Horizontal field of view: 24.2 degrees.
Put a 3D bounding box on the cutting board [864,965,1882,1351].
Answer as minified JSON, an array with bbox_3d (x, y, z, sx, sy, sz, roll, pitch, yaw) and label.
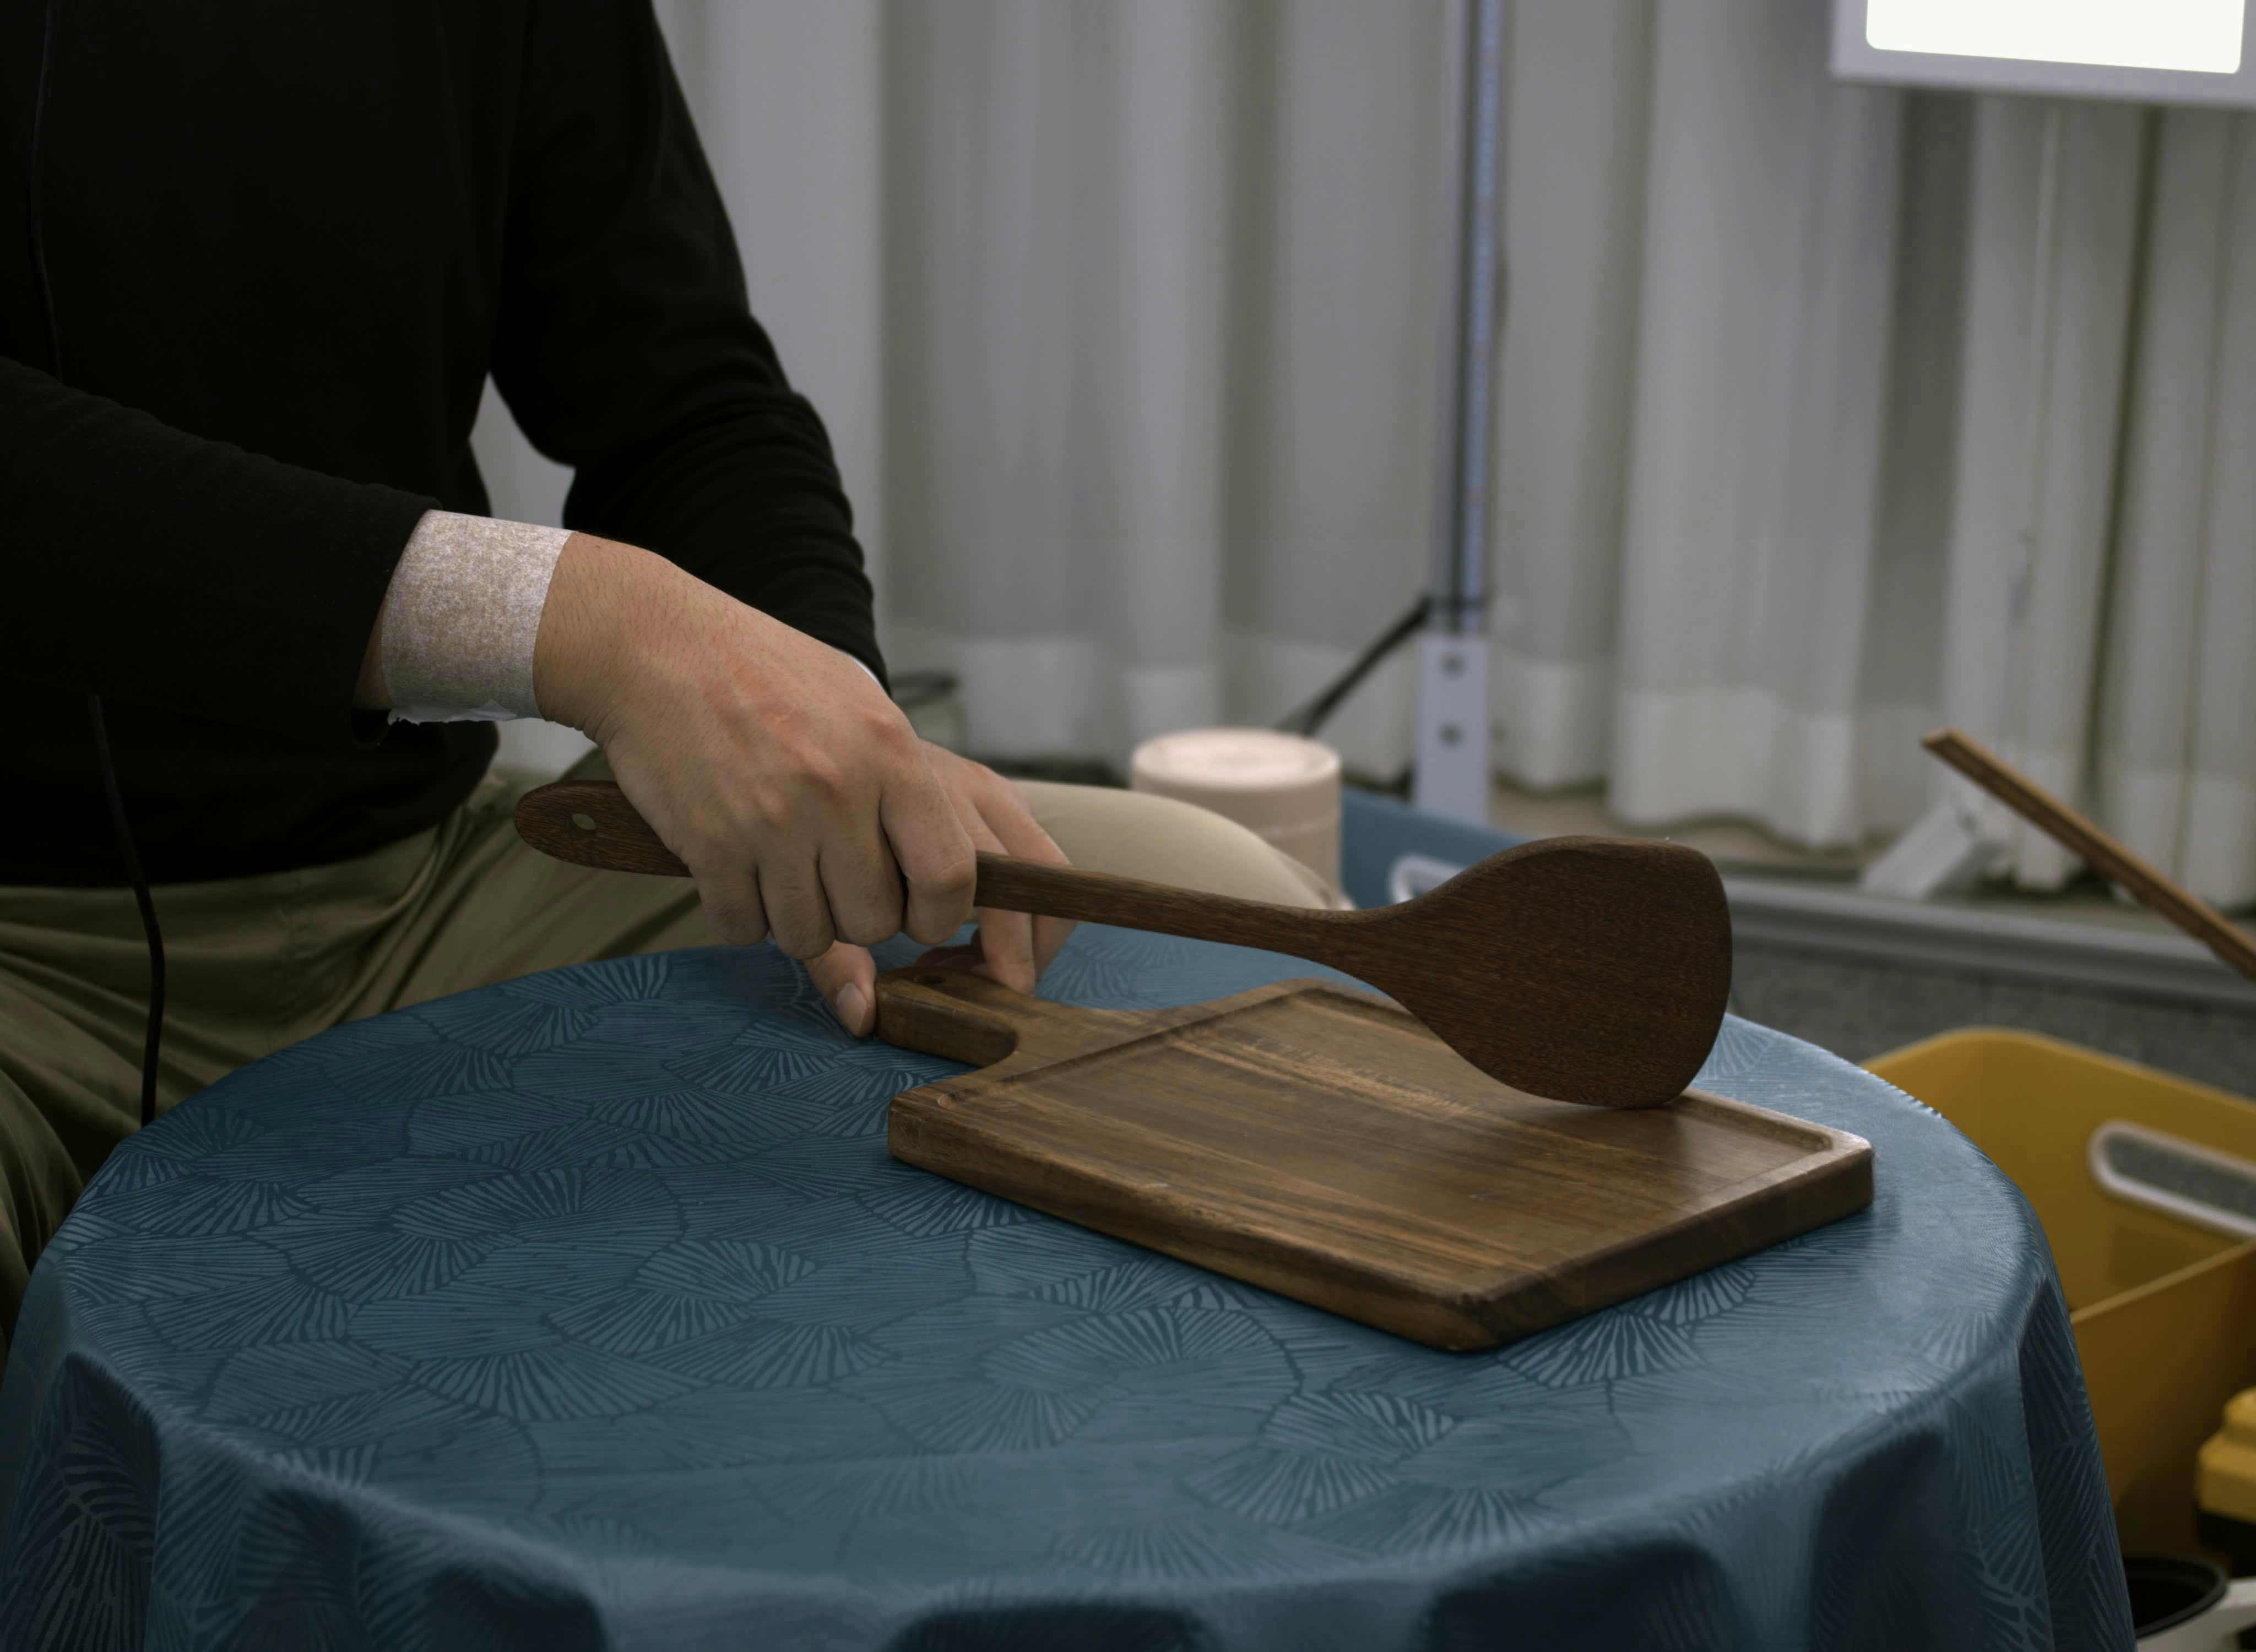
[{"bbox_3d":[0.043,0.090,1.663,0.347,0.023,0.202,15,21,42],"label":"cutting board"}]

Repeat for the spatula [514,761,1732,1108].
[{"bbox_3d":[-0.004,0.020,1.644,0.384,0.097,0.016,9,27,5],"label":"spatula"}]
